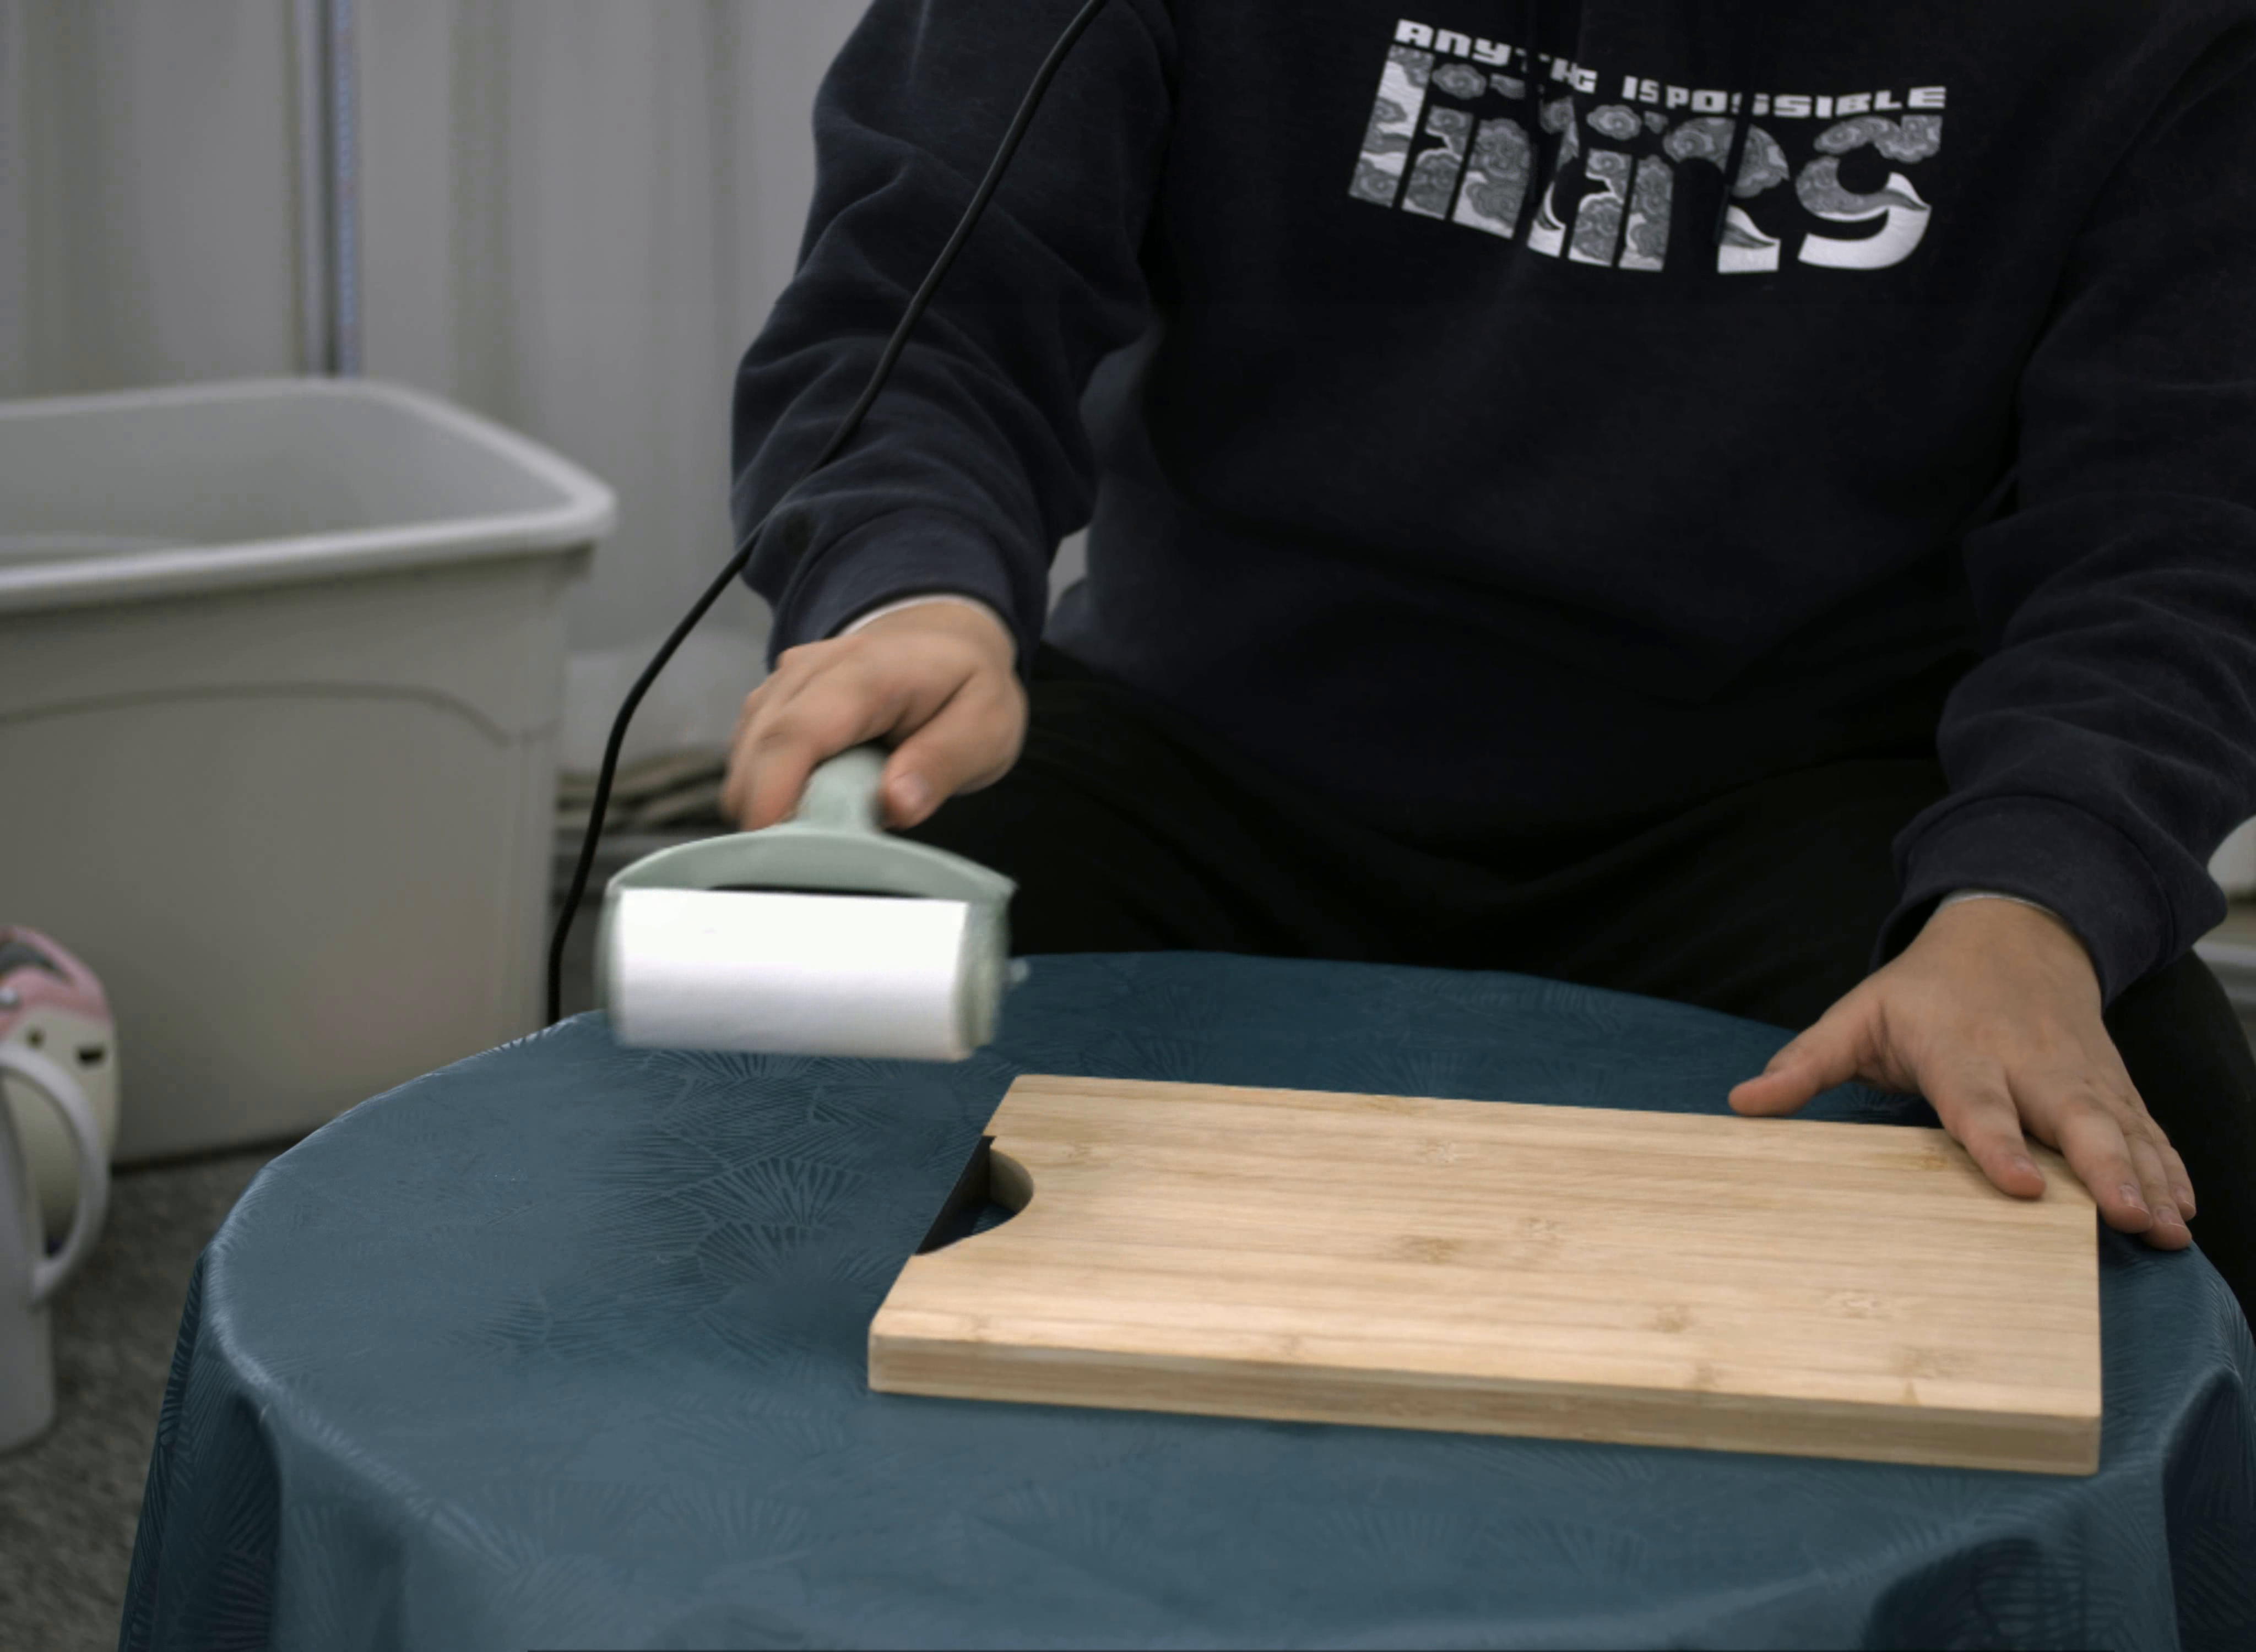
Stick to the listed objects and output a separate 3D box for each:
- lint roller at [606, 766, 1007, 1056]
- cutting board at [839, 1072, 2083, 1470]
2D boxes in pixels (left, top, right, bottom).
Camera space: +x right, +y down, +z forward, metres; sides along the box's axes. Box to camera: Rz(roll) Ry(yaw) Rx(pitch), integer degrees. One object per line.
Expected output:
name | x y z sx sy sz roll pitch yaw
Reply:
lint roller | -0.088 0.014 1.592 0.116 0.049 0.196 1 24 5
cutting board | 0.108 0.127 1.550 0.346 0.024 0.250 3 15 7
